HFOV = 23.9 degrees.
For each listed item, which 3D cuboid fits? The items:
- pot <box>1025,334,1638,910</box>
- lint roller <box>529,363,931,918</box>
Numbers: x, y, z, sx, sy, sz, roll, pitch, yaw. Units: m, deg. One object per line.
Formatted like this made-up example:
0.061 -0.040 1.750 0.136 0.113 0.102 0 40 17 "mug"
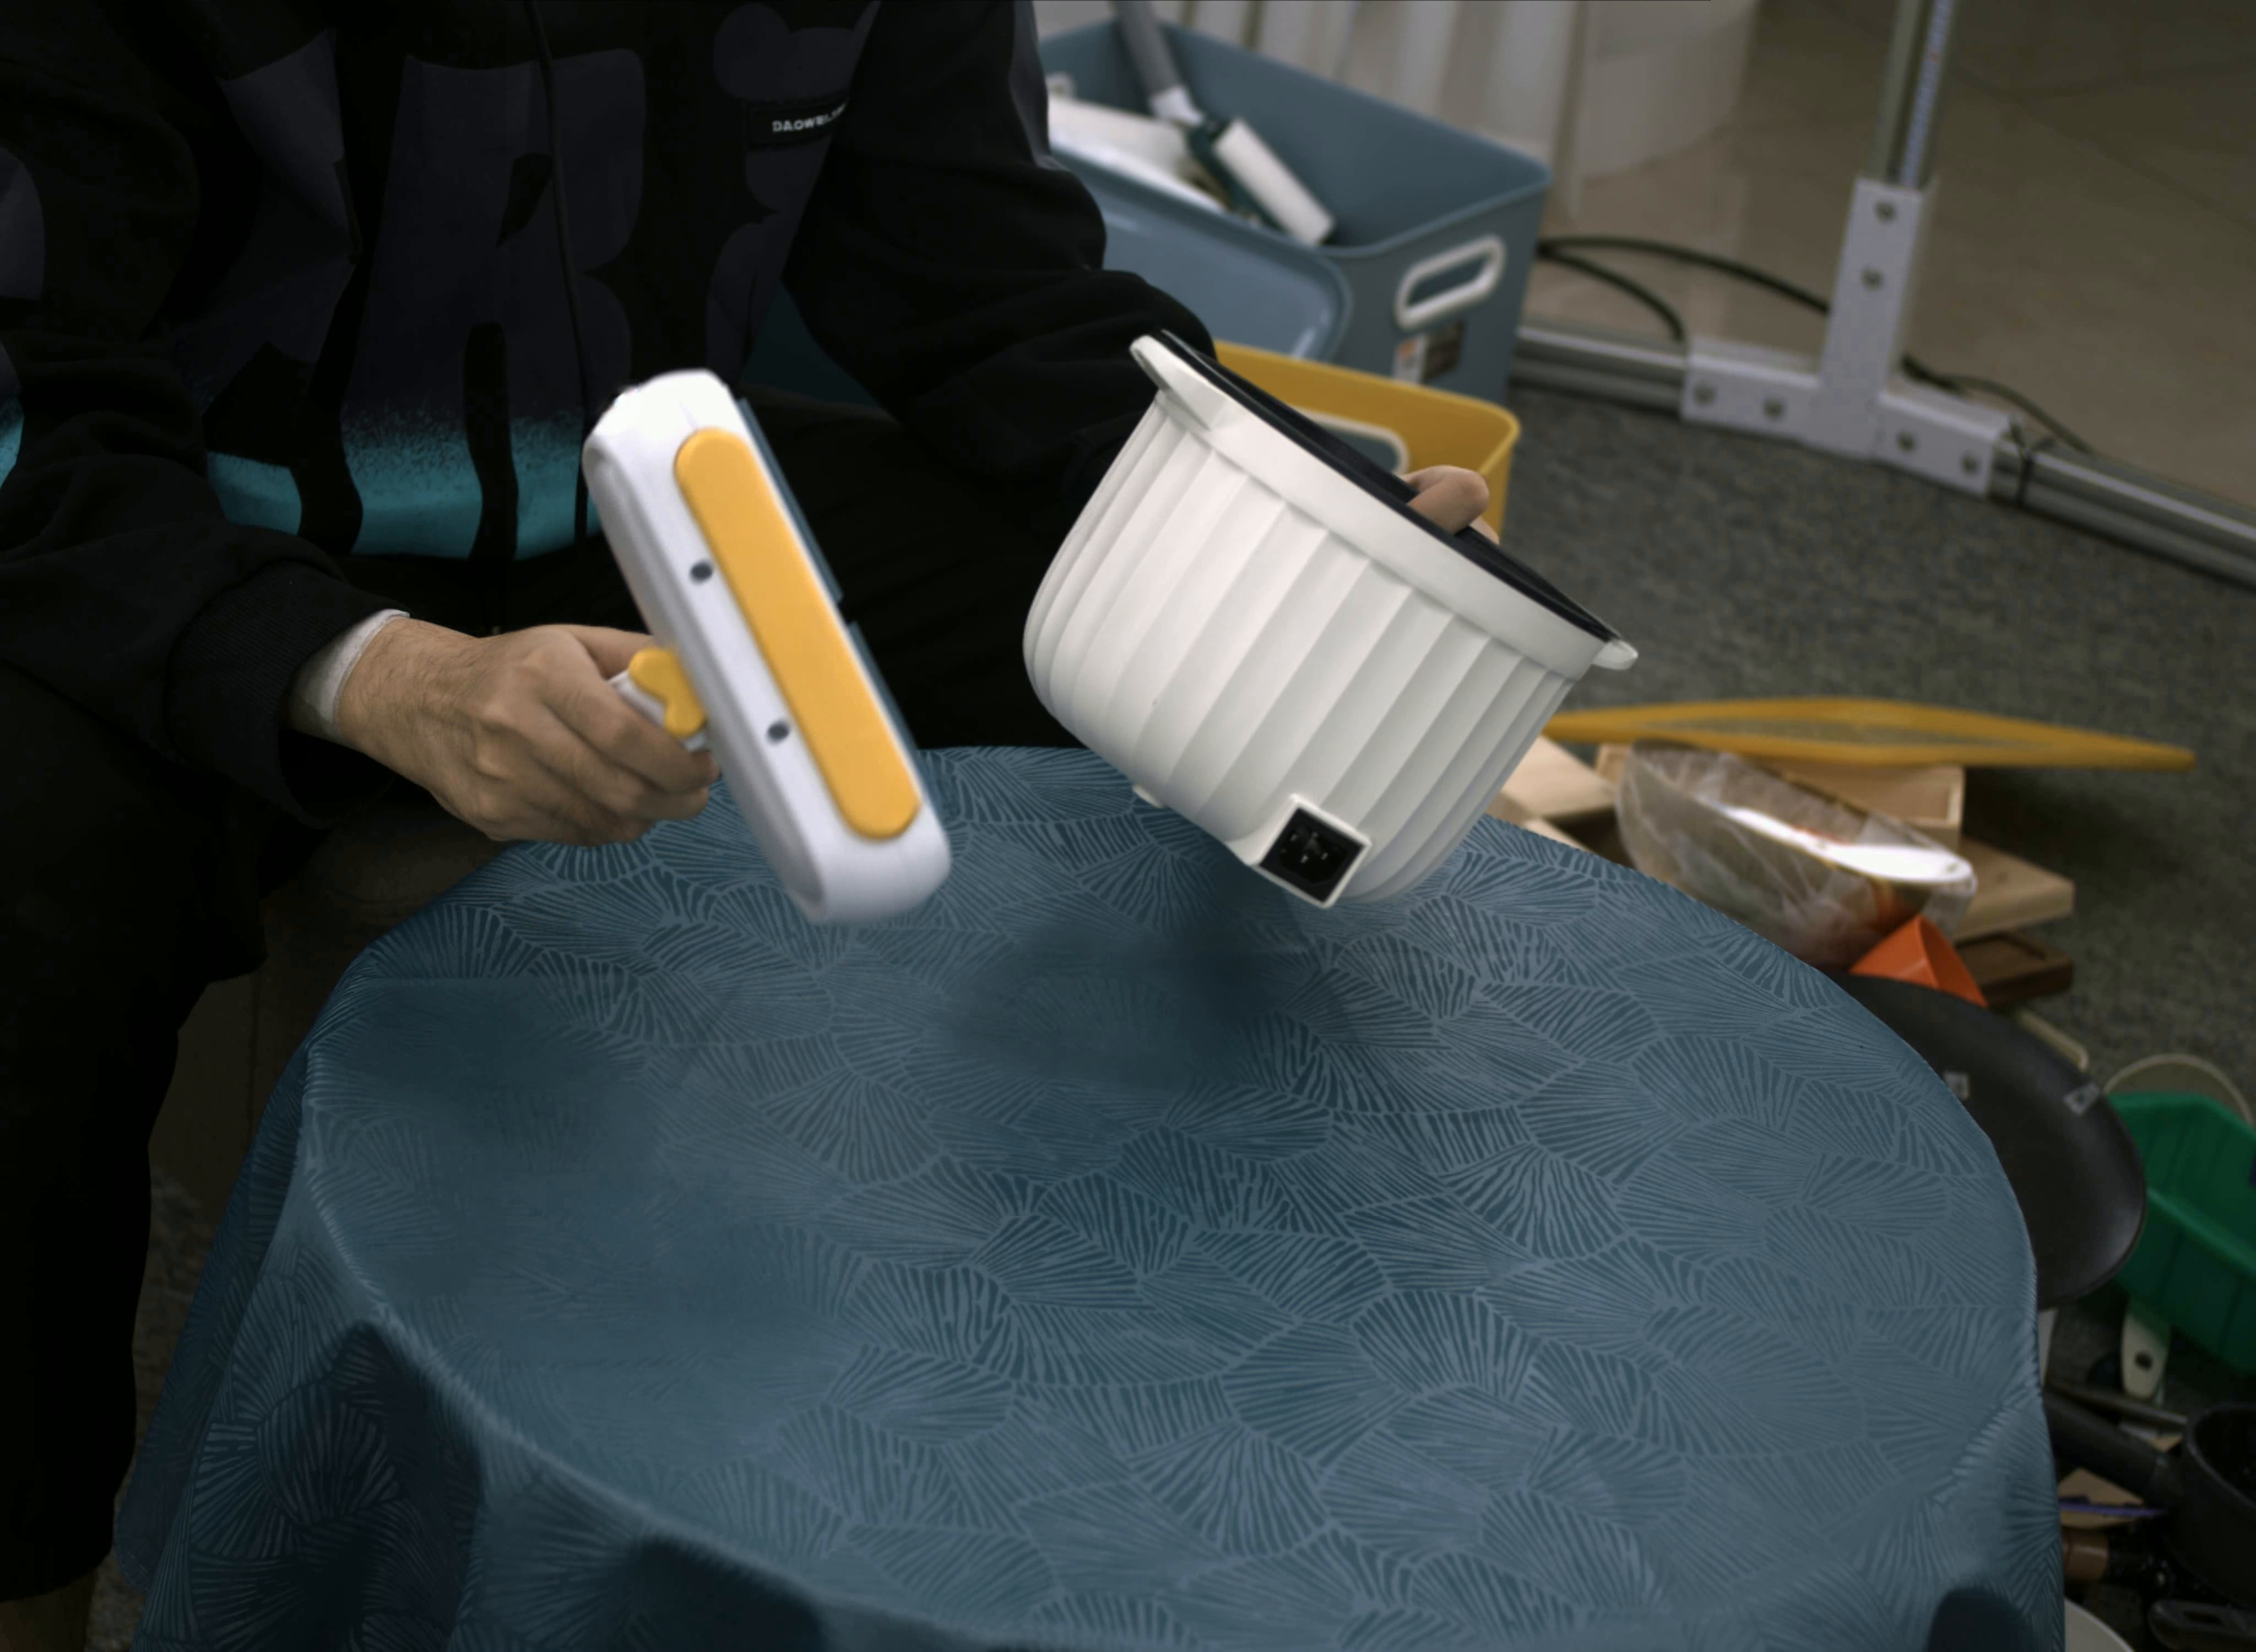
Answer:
0.056 -0.066 1.885 0.238 0.142 0.192 31 9 -31 "pot"
-0.150 -0.044 1.790 0.074 0.193 0.192 -31 -1 -24 "lint roller"
